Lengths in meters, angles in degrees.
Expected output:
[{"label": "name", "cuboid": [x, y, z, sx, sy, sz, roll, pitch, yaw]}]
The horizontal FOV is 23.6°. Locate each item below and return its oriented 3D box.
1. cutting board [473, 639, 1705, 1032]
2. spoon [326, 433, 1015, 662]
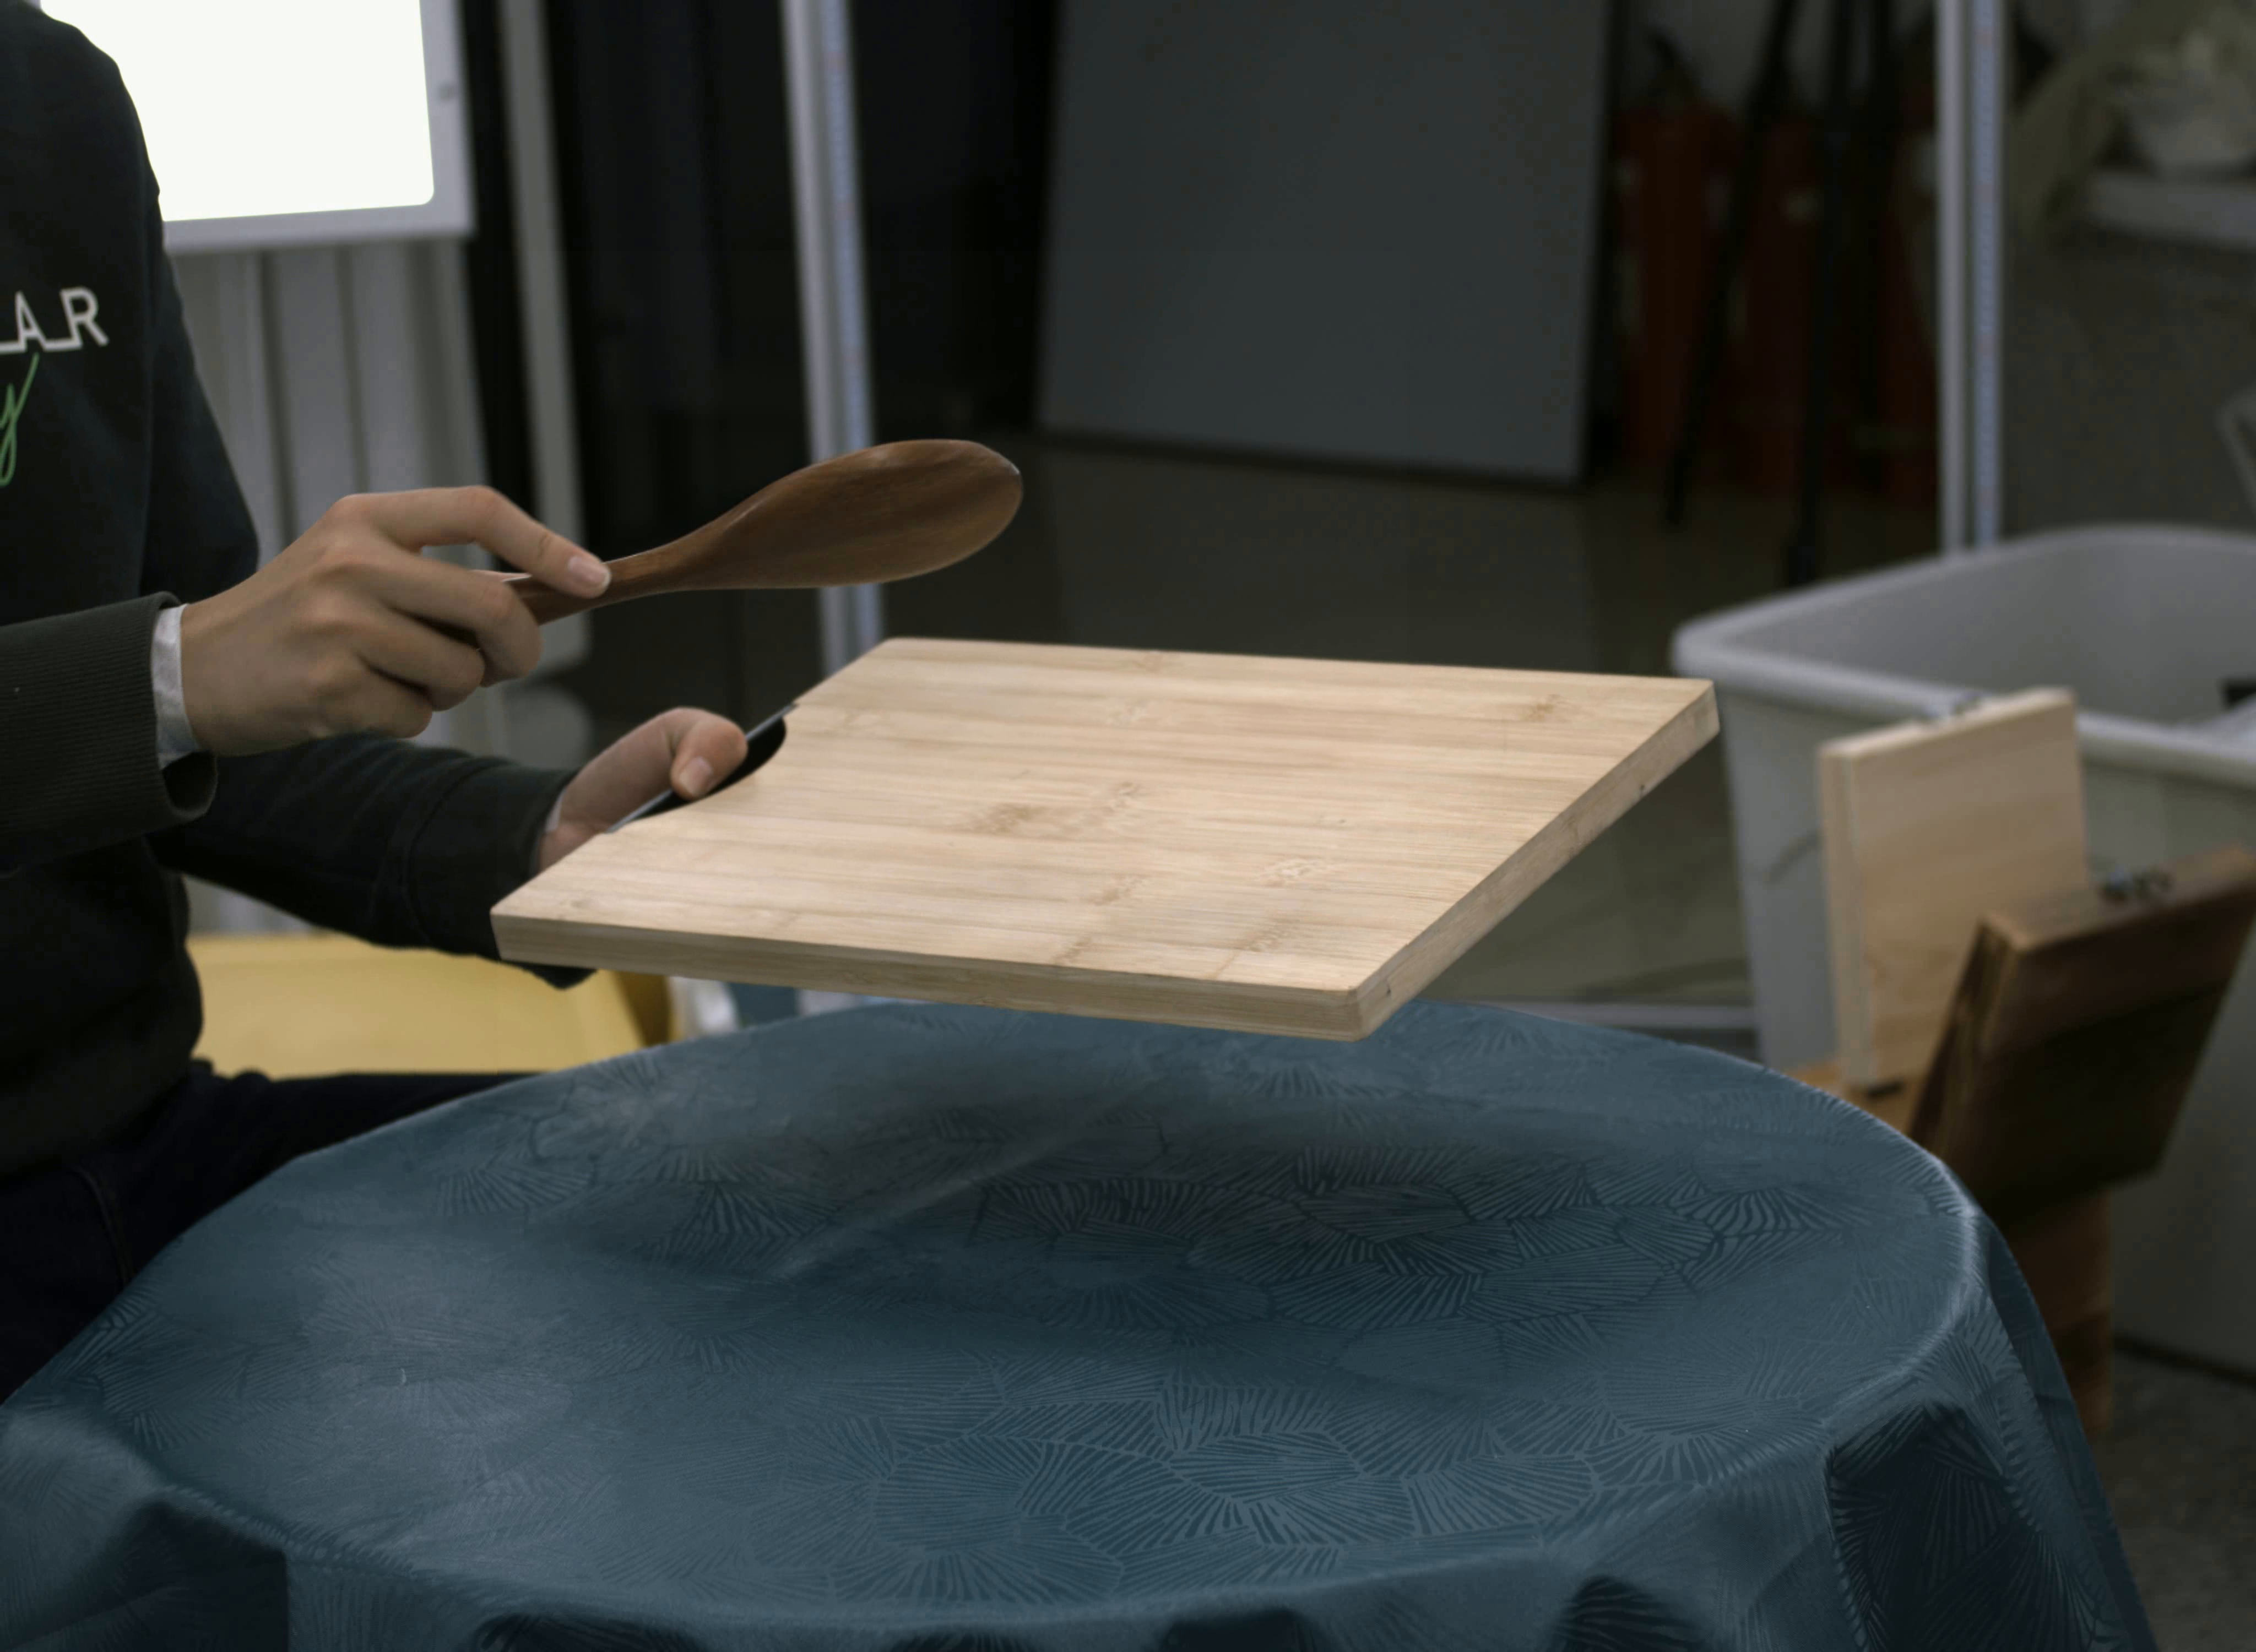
[{"label": "cutting board", "cuboid": [-0.013, -0.002, 1.775, 0.350, 0.024, 0.247, 3, 25, 34]}, {"label": "spoon", "cuboid": [-0.137, -0.080, 1.628, 0.214, 0.017, 0.075, -13, -20, 6]}]
